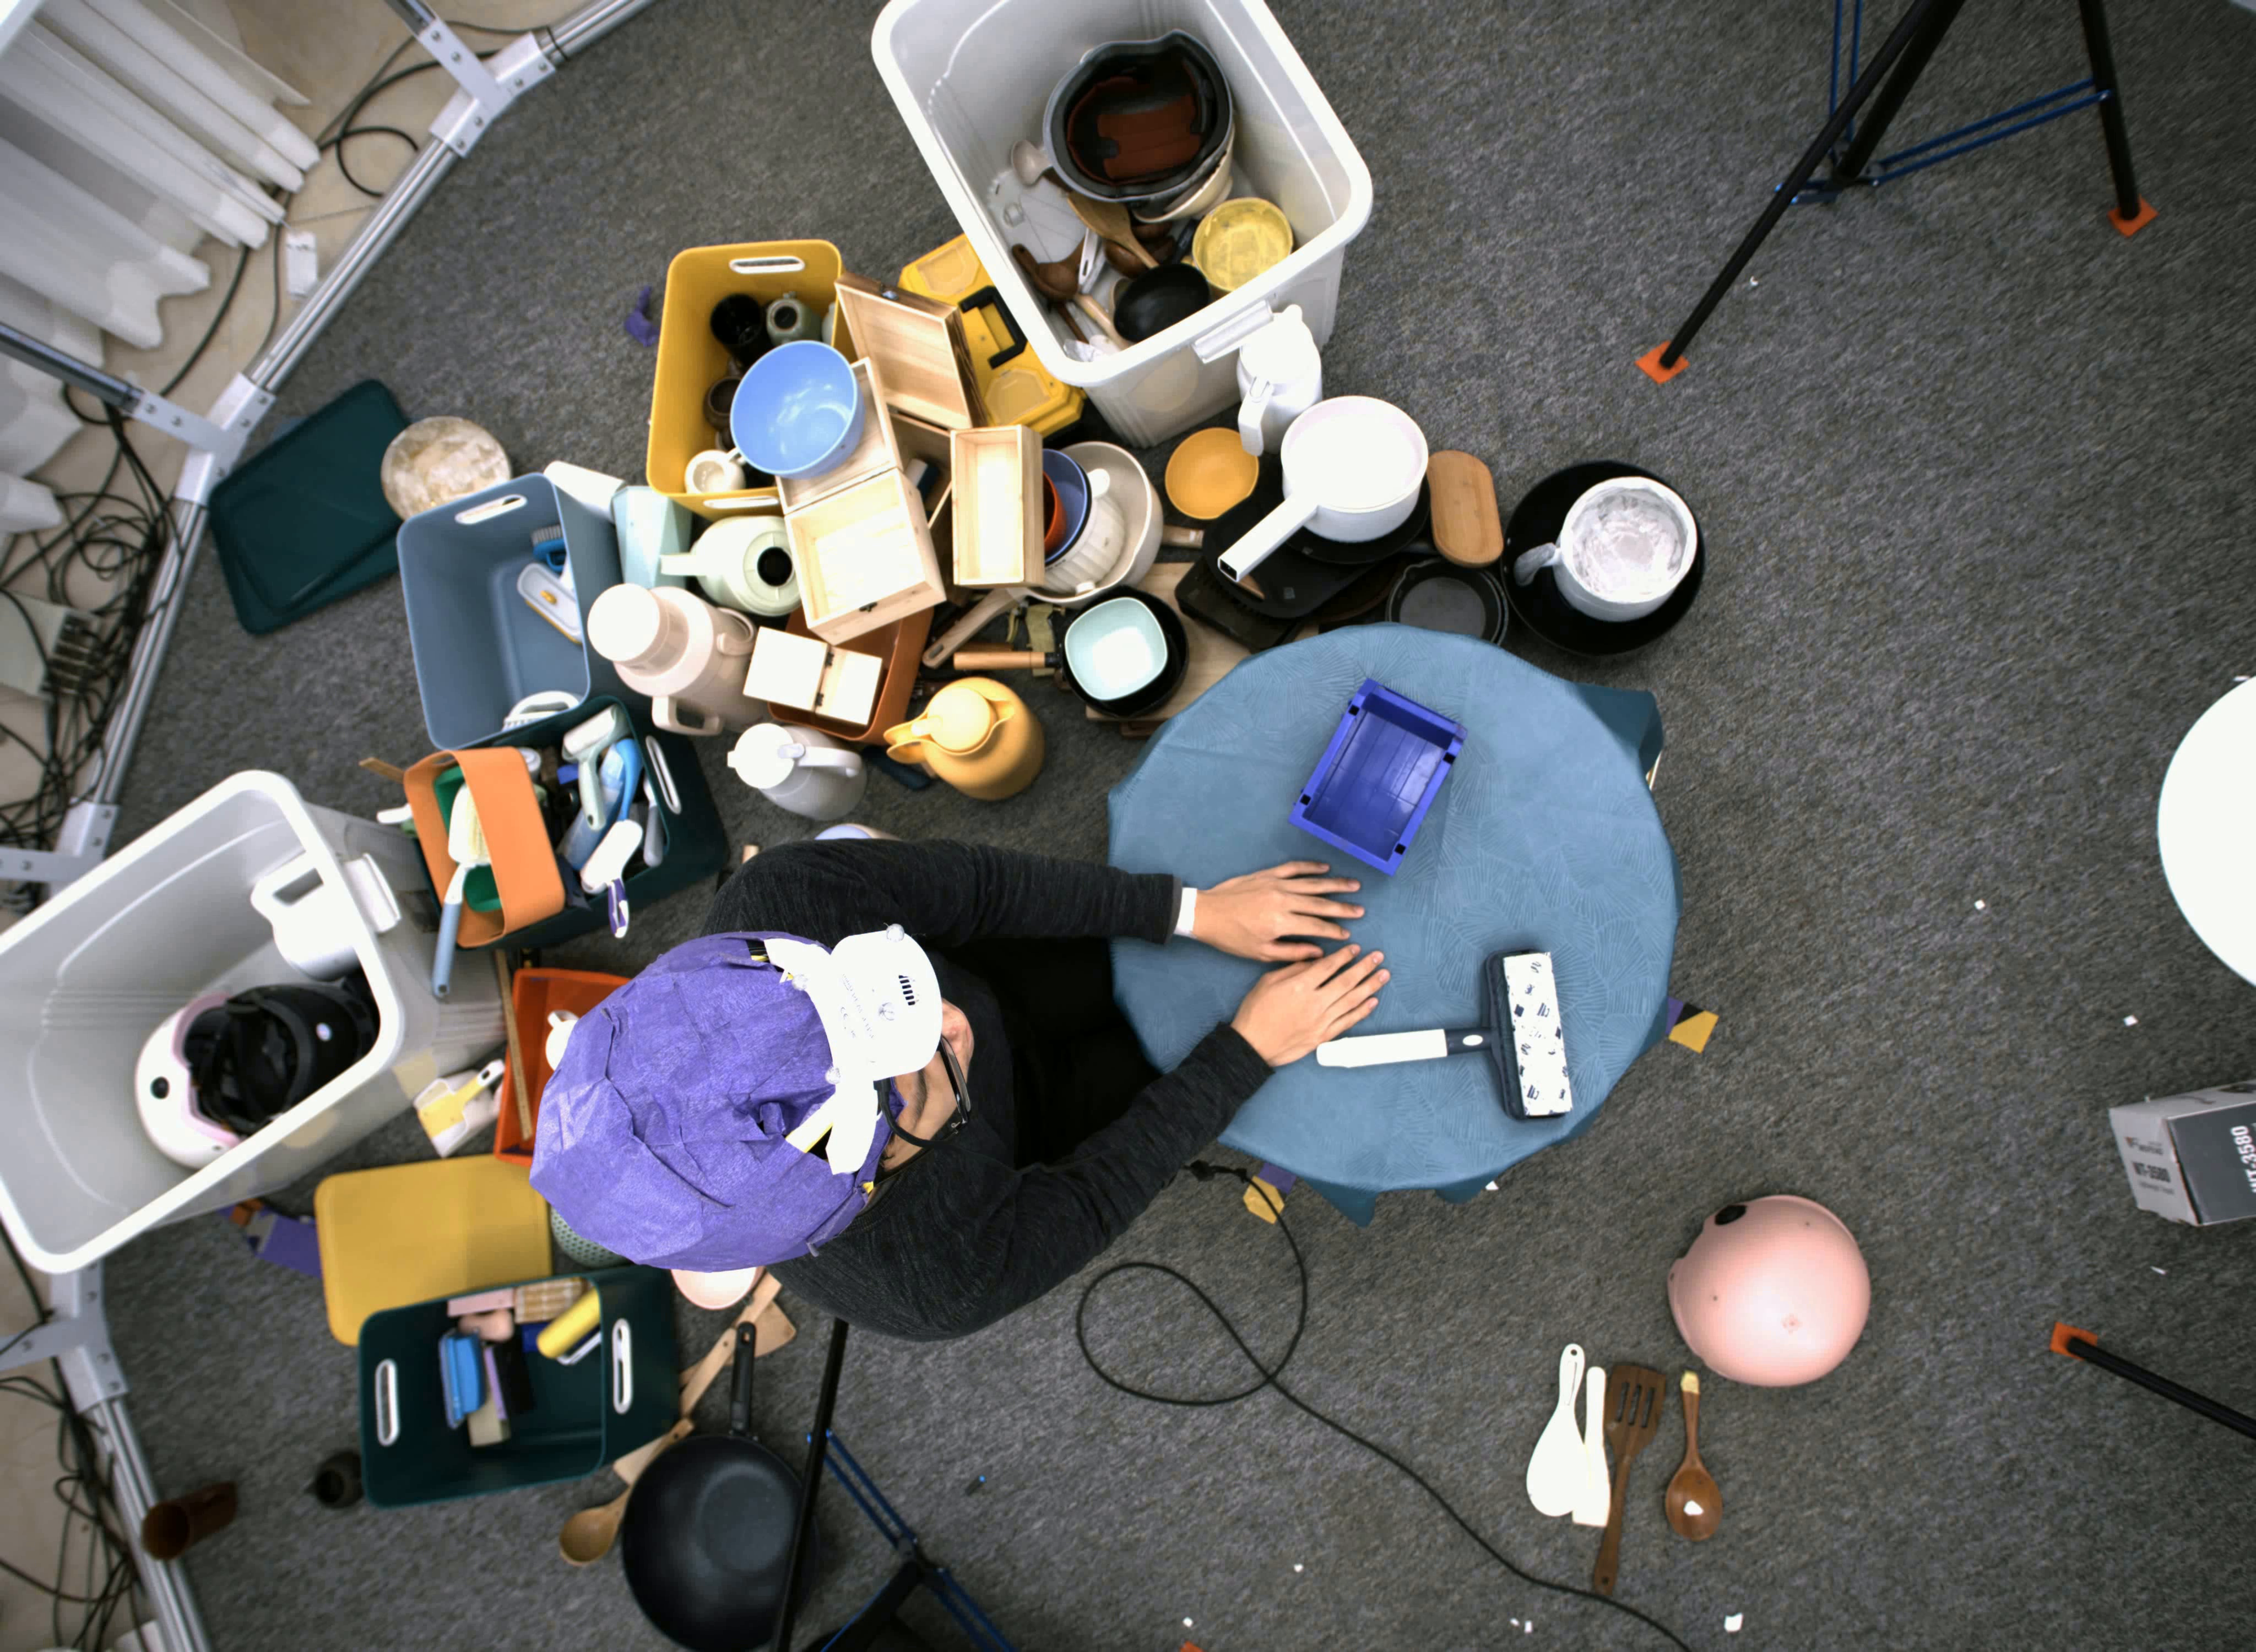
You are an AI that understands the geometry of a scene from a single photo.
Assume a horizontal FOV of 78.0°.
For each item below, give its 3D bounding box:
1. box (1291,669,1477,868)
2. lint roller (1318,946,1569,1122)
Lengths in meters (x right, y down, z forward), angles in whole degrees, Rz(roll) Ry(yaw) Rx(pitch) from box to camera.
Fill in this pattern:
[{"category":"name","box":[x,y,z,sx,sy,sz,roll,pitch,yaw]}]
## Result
[{"category":"box","box":[0.265,-0.063,1.427,0.124,0.082,0.180,30,95,11]},{"category":"lint roller","box":[0.318,0.223,1.421,0.248,0.050,0.175,-8,86,11]}]
